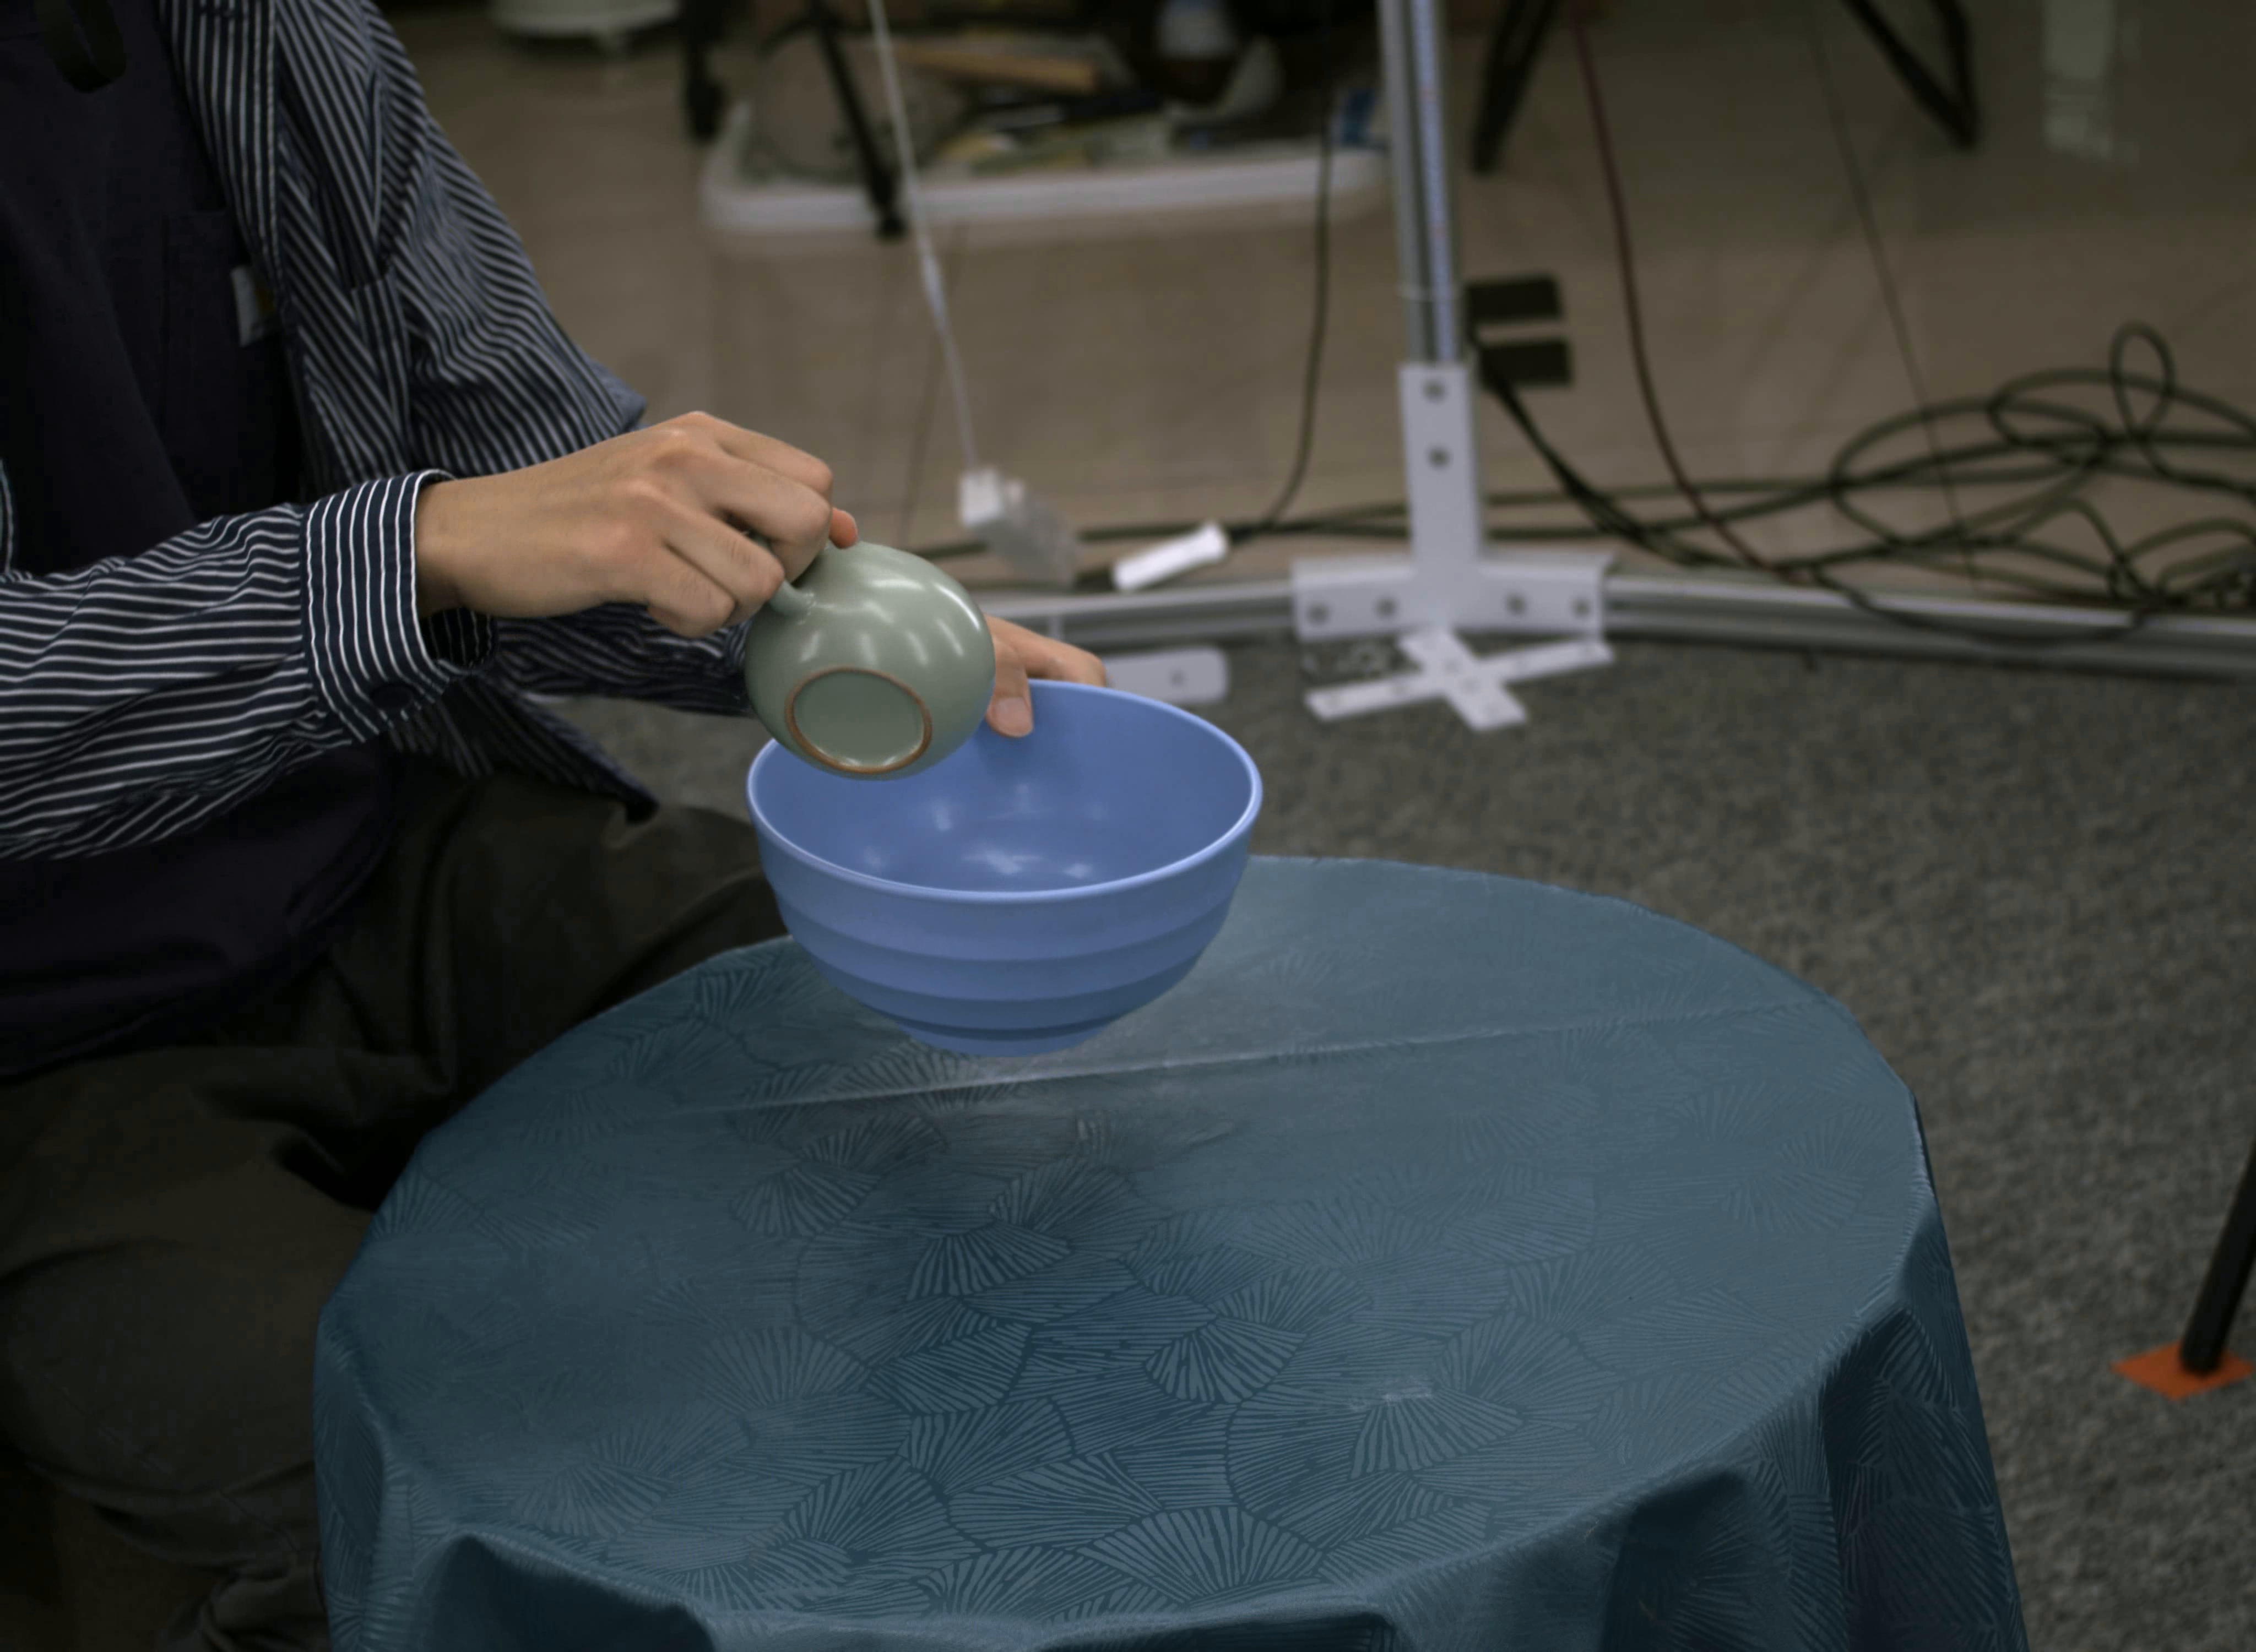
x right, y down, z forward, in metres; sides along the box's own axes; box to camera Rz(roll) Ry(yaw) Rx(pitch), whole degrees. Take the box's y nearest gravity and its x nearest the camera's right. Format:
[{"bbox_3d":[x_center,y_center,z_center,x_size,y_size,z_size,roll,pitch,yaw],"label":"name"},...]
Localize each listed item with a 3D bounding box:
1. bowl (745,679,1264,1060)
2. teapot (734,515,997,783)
[{"bbox_3d":[-0.047,0.026,2.157,0.196,0.097,0.193,1,26,0],"label":"bowl"},{"bbox_3d":[-0.099,-0.063,2.045,0.092,0.130,0.060,-22,39,31],"label":"teapot"}]
